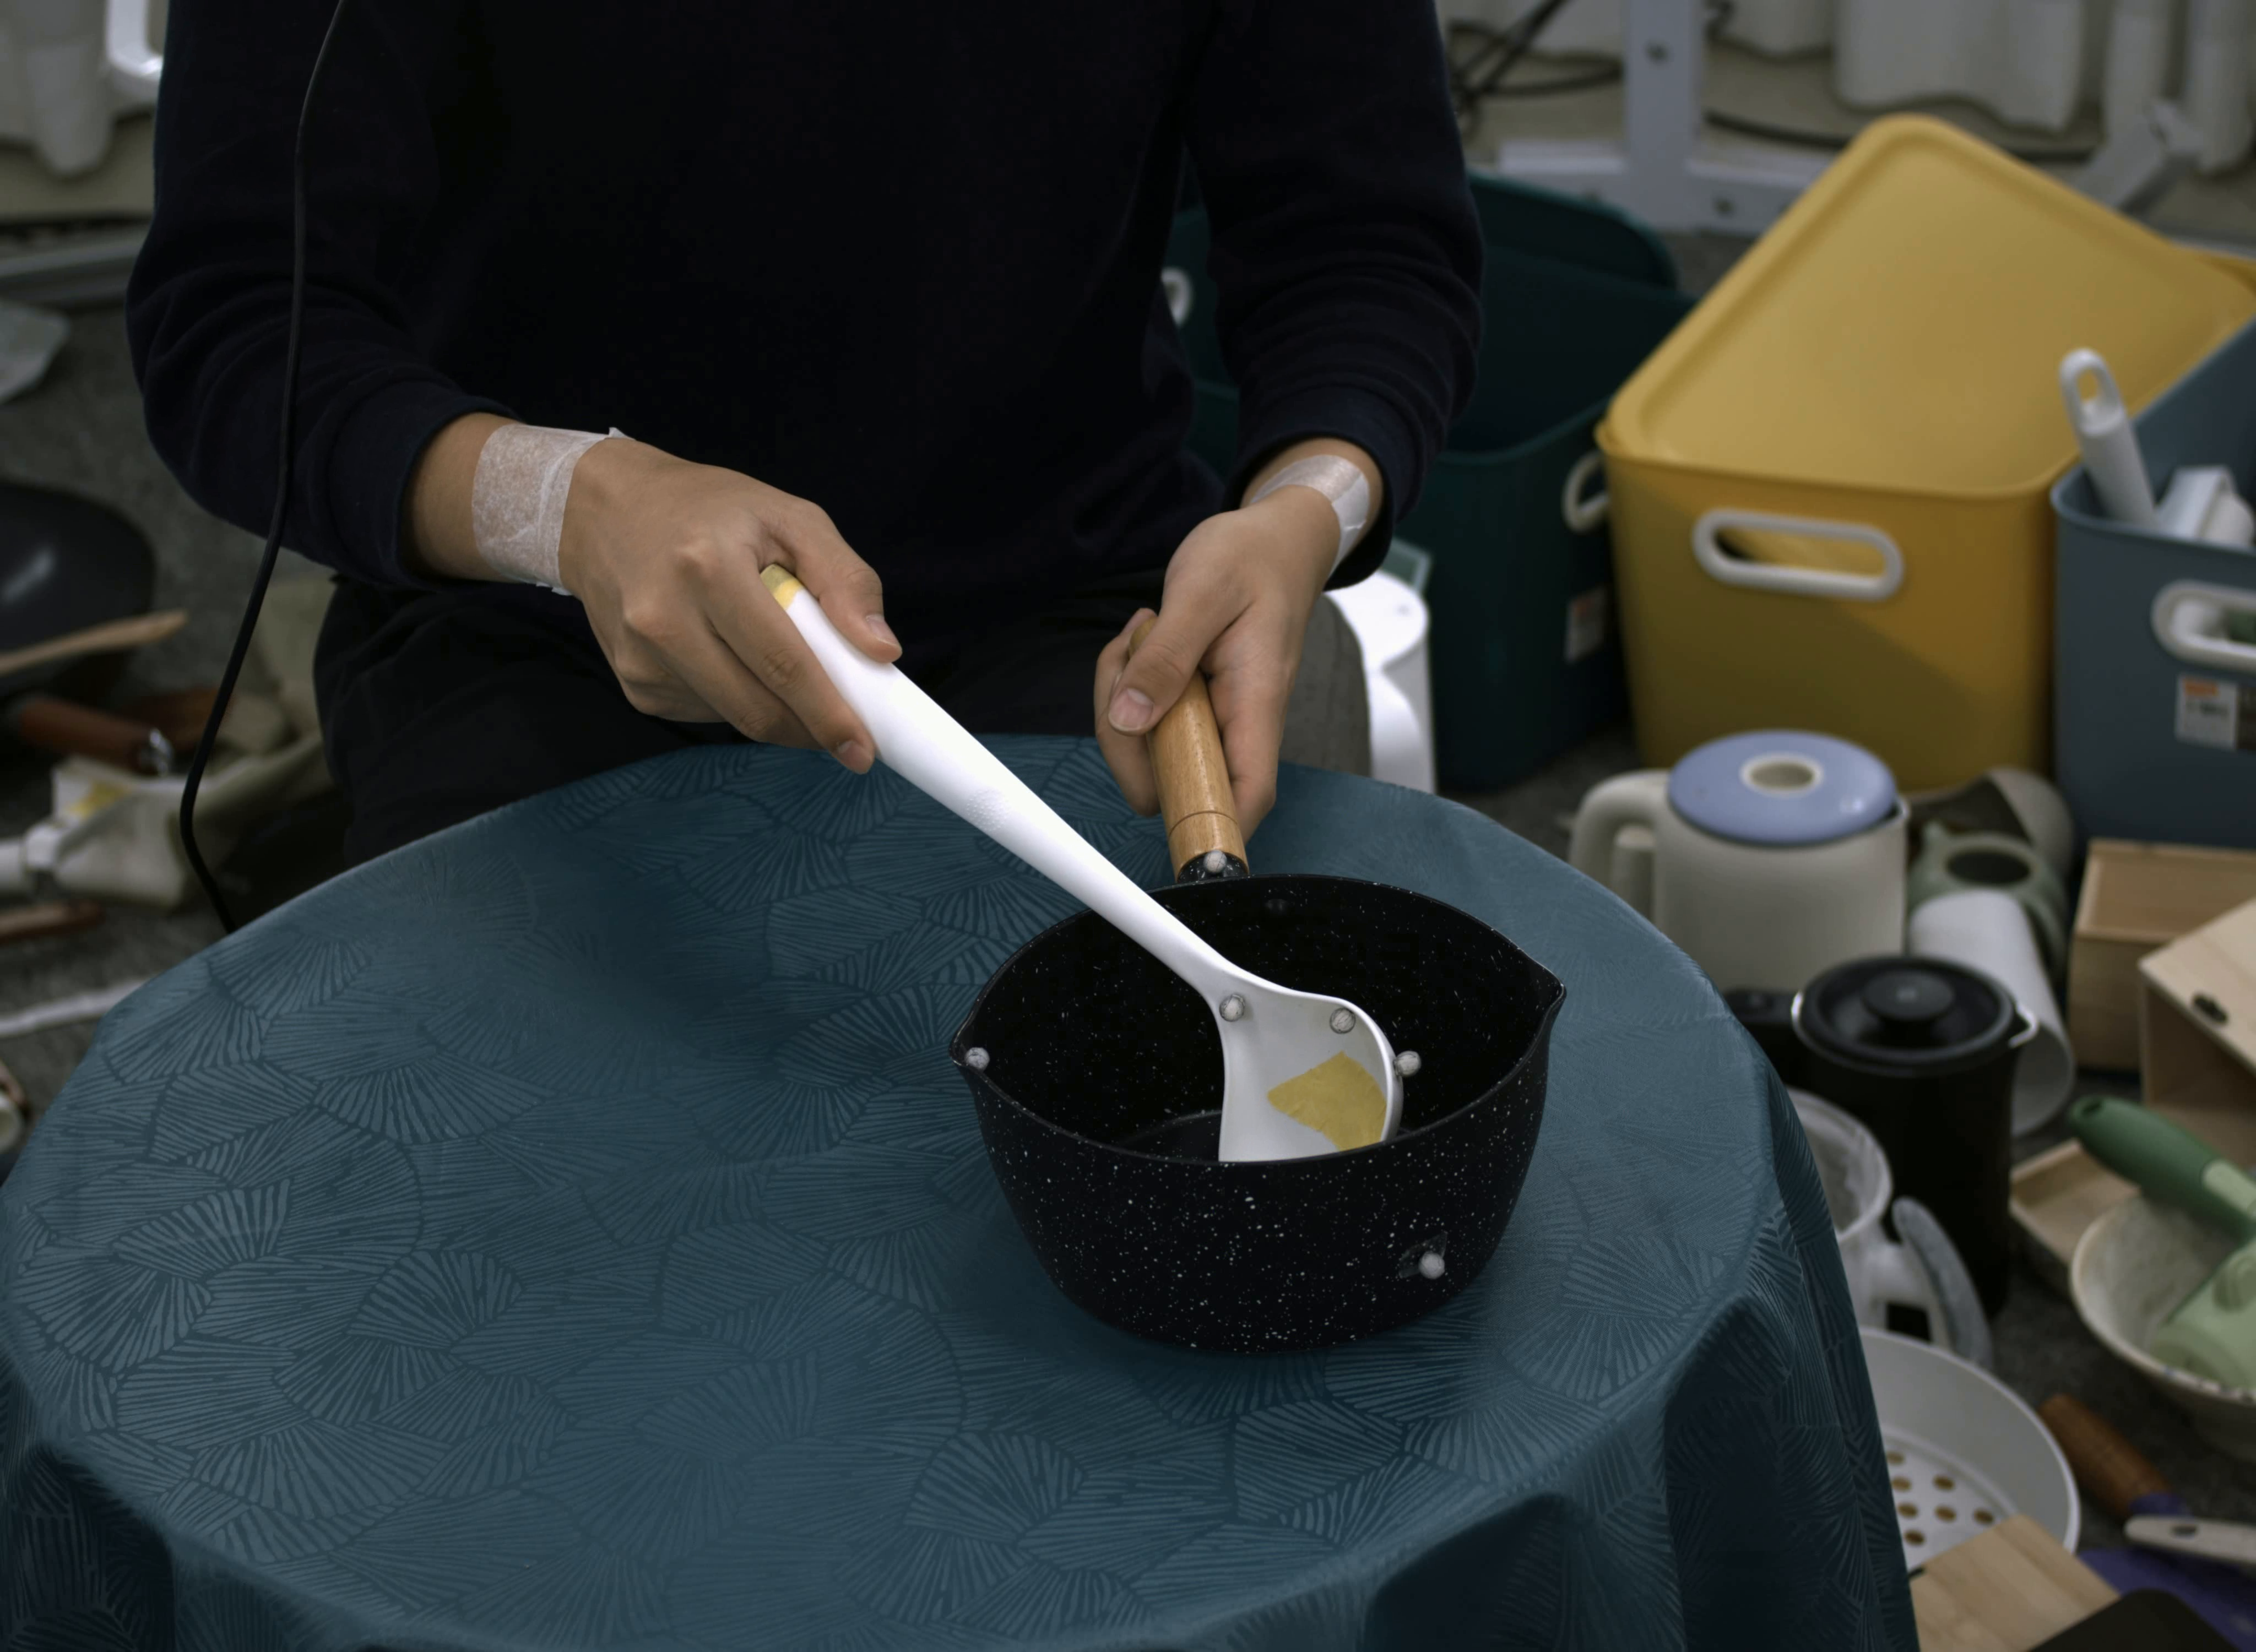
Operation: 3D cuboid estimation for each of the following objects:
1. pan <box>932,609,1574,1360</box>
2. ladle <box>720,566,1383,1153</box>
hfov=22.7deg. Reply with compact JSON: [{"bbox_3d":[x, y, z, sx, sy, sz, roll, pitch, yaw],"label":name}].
[{"bbox_3d":[0.032,0.049,1.882,0.207,0.107,0.347,-7,29,-5],"label":"pan"},{"bbox_3d":[-0.029,0.027,1.845,0.293,0.088,0.071,42,37,10],"label":"ladle"}]
